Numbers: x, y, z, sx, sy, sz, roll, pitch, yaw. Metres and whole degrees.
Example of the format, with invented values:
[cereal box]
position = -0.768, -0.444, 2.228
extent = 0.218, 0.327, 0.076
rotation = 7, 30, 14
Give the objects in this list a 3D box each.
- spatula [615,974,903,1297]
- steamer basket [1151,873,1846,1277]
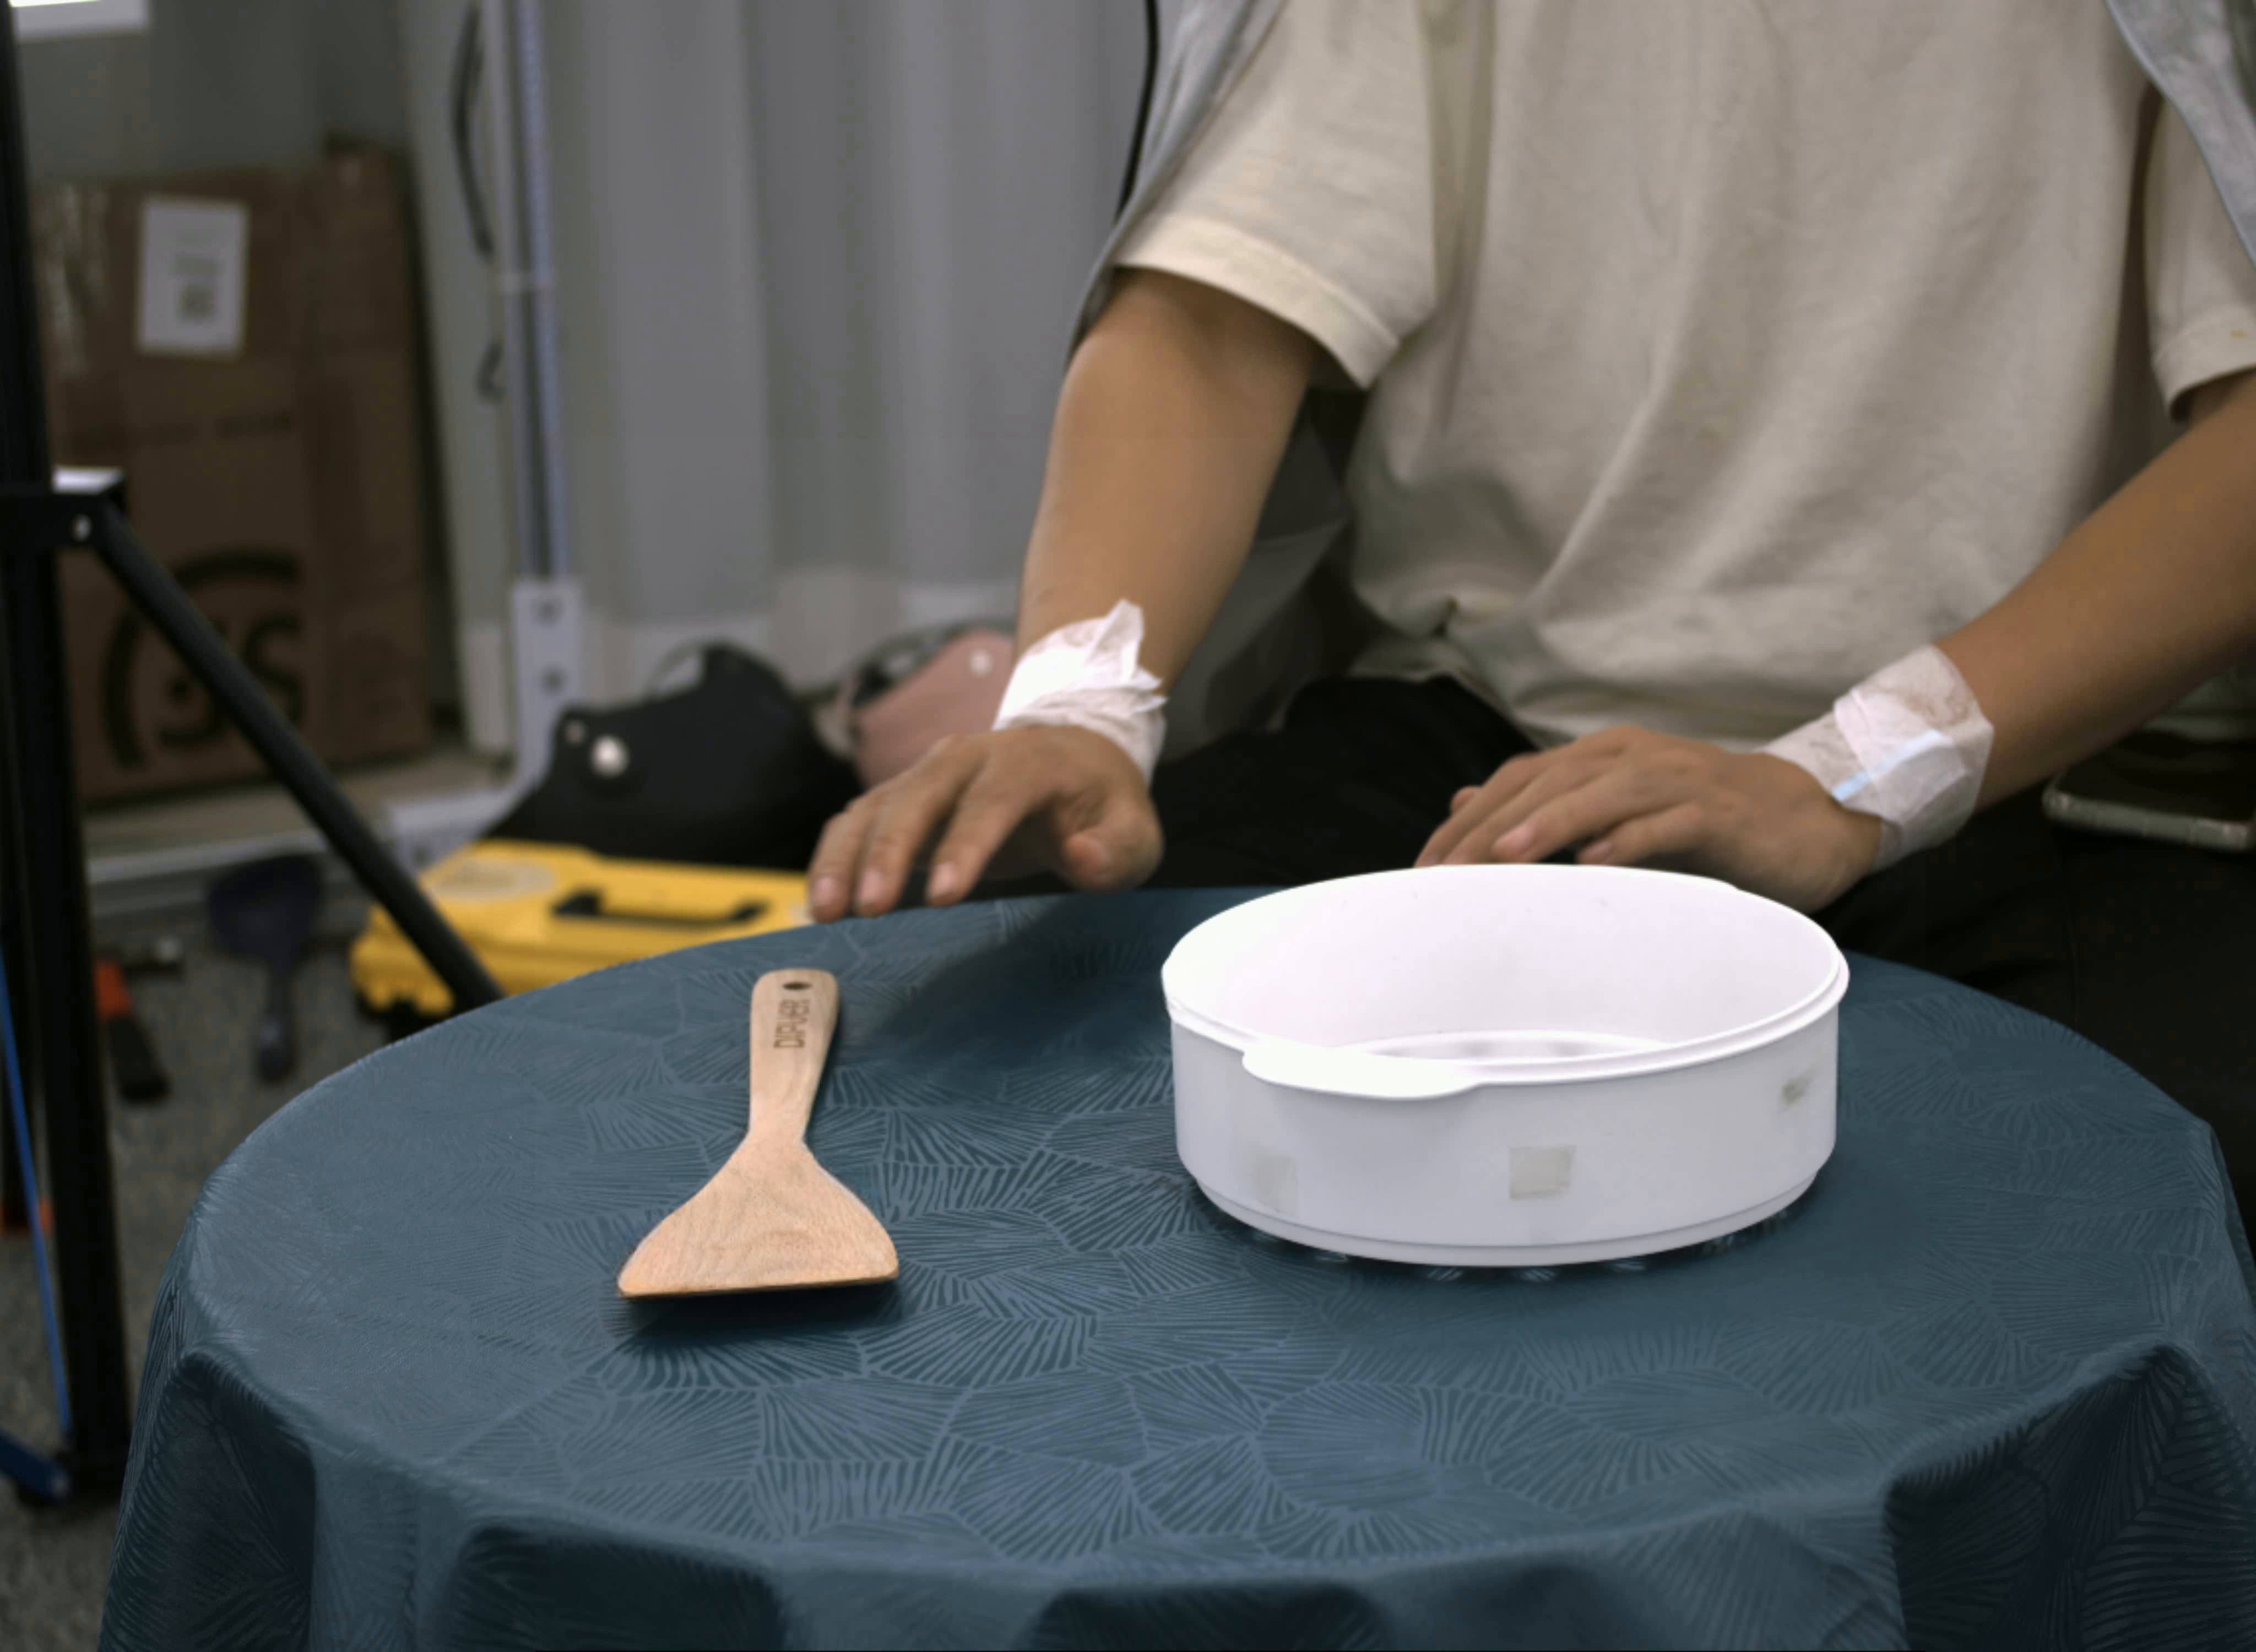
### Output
[spatula]
position = -0.106, 0.090, 1.605
extent = 0.079, 0.016, 0.329
rotation = -2, 15, -1
[steamer basket]
position = 0.107, 0.073, 1.545
extent = 0.205, 0.069, 0.226
rotation = 8, 17, 29
